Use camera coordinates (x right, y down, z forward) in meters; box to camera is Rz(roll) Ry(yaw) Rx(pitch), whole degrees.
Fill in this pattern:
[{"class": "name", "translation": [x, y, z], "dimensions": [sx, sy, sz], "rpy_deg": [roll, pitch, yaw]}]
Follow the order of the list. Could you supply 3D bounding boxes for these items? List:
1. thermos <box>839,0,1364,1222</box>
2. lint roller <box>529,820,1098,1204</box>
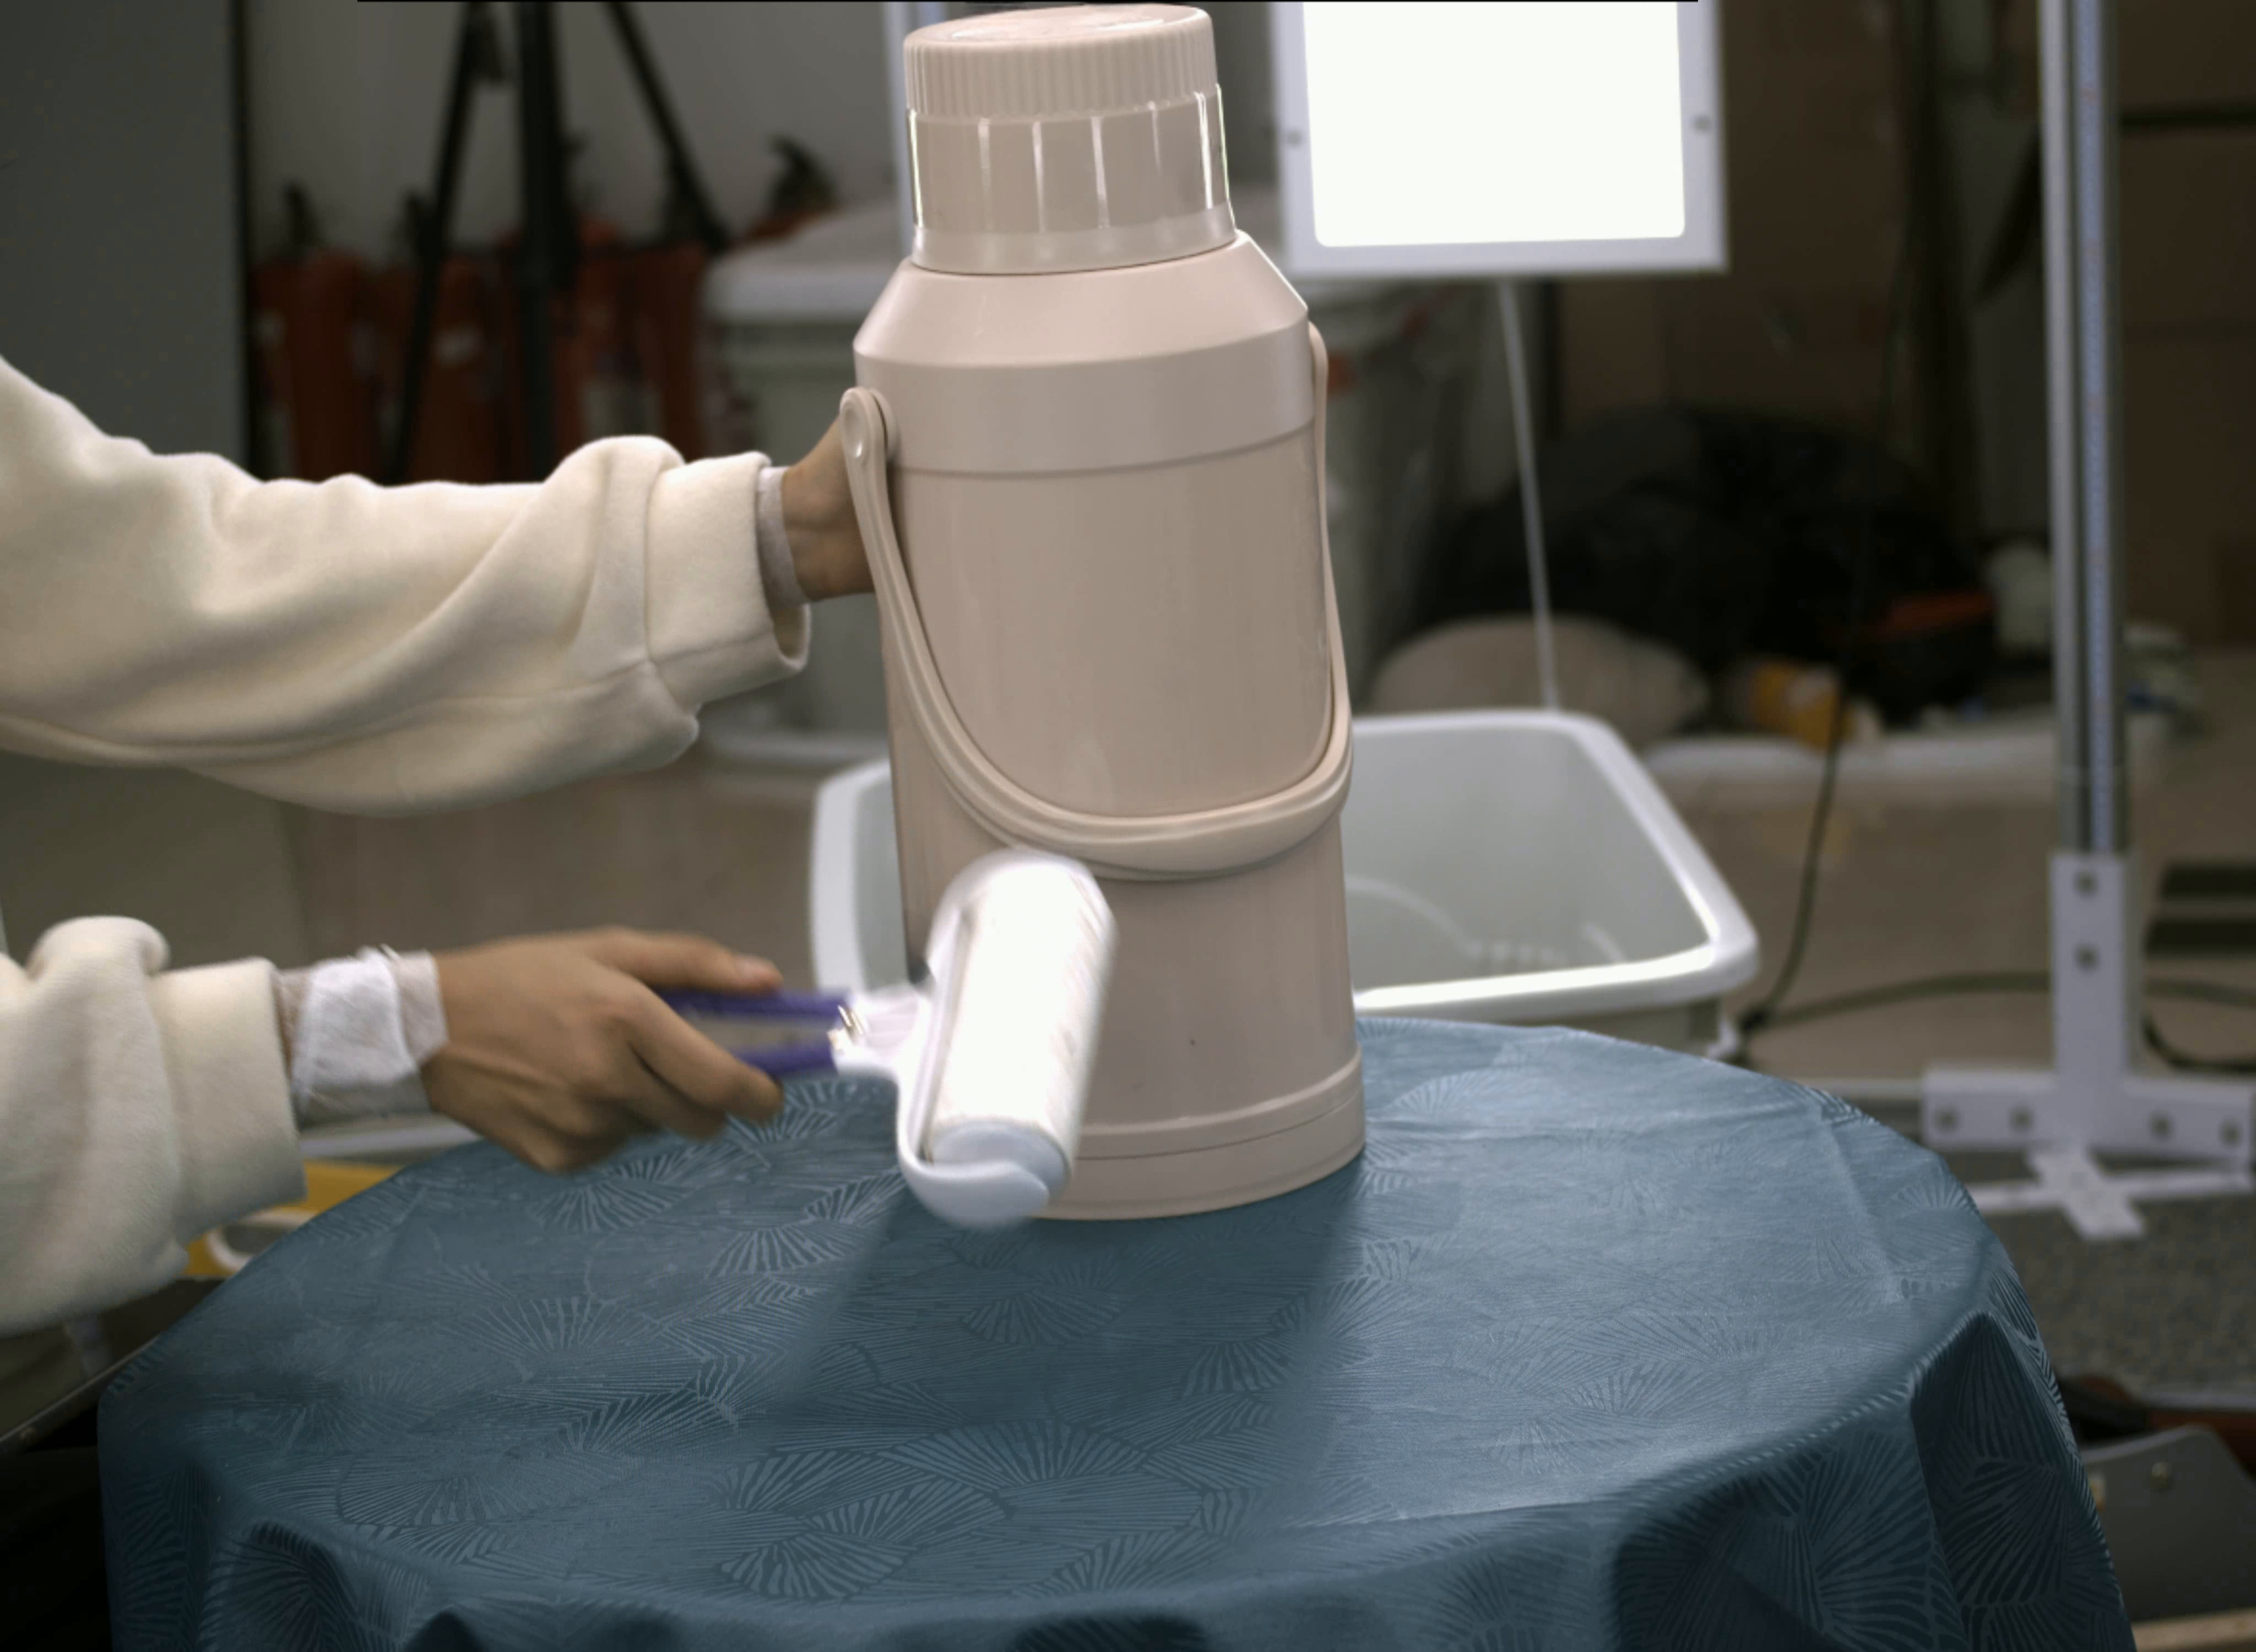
[{"class": "thermos", "translation": [-0.014, -0.079, 1.906], "dimensions": [0.172, 0.408, 0.210], "rpy_deg": [-11, 15, -24]}, {"class": "lint roller", "translation": [-0.102, 0.052, 1.744], "dimensions": [0.181, 0.050, 0.132], "rpy_deg": [5, 55, 8]}]
